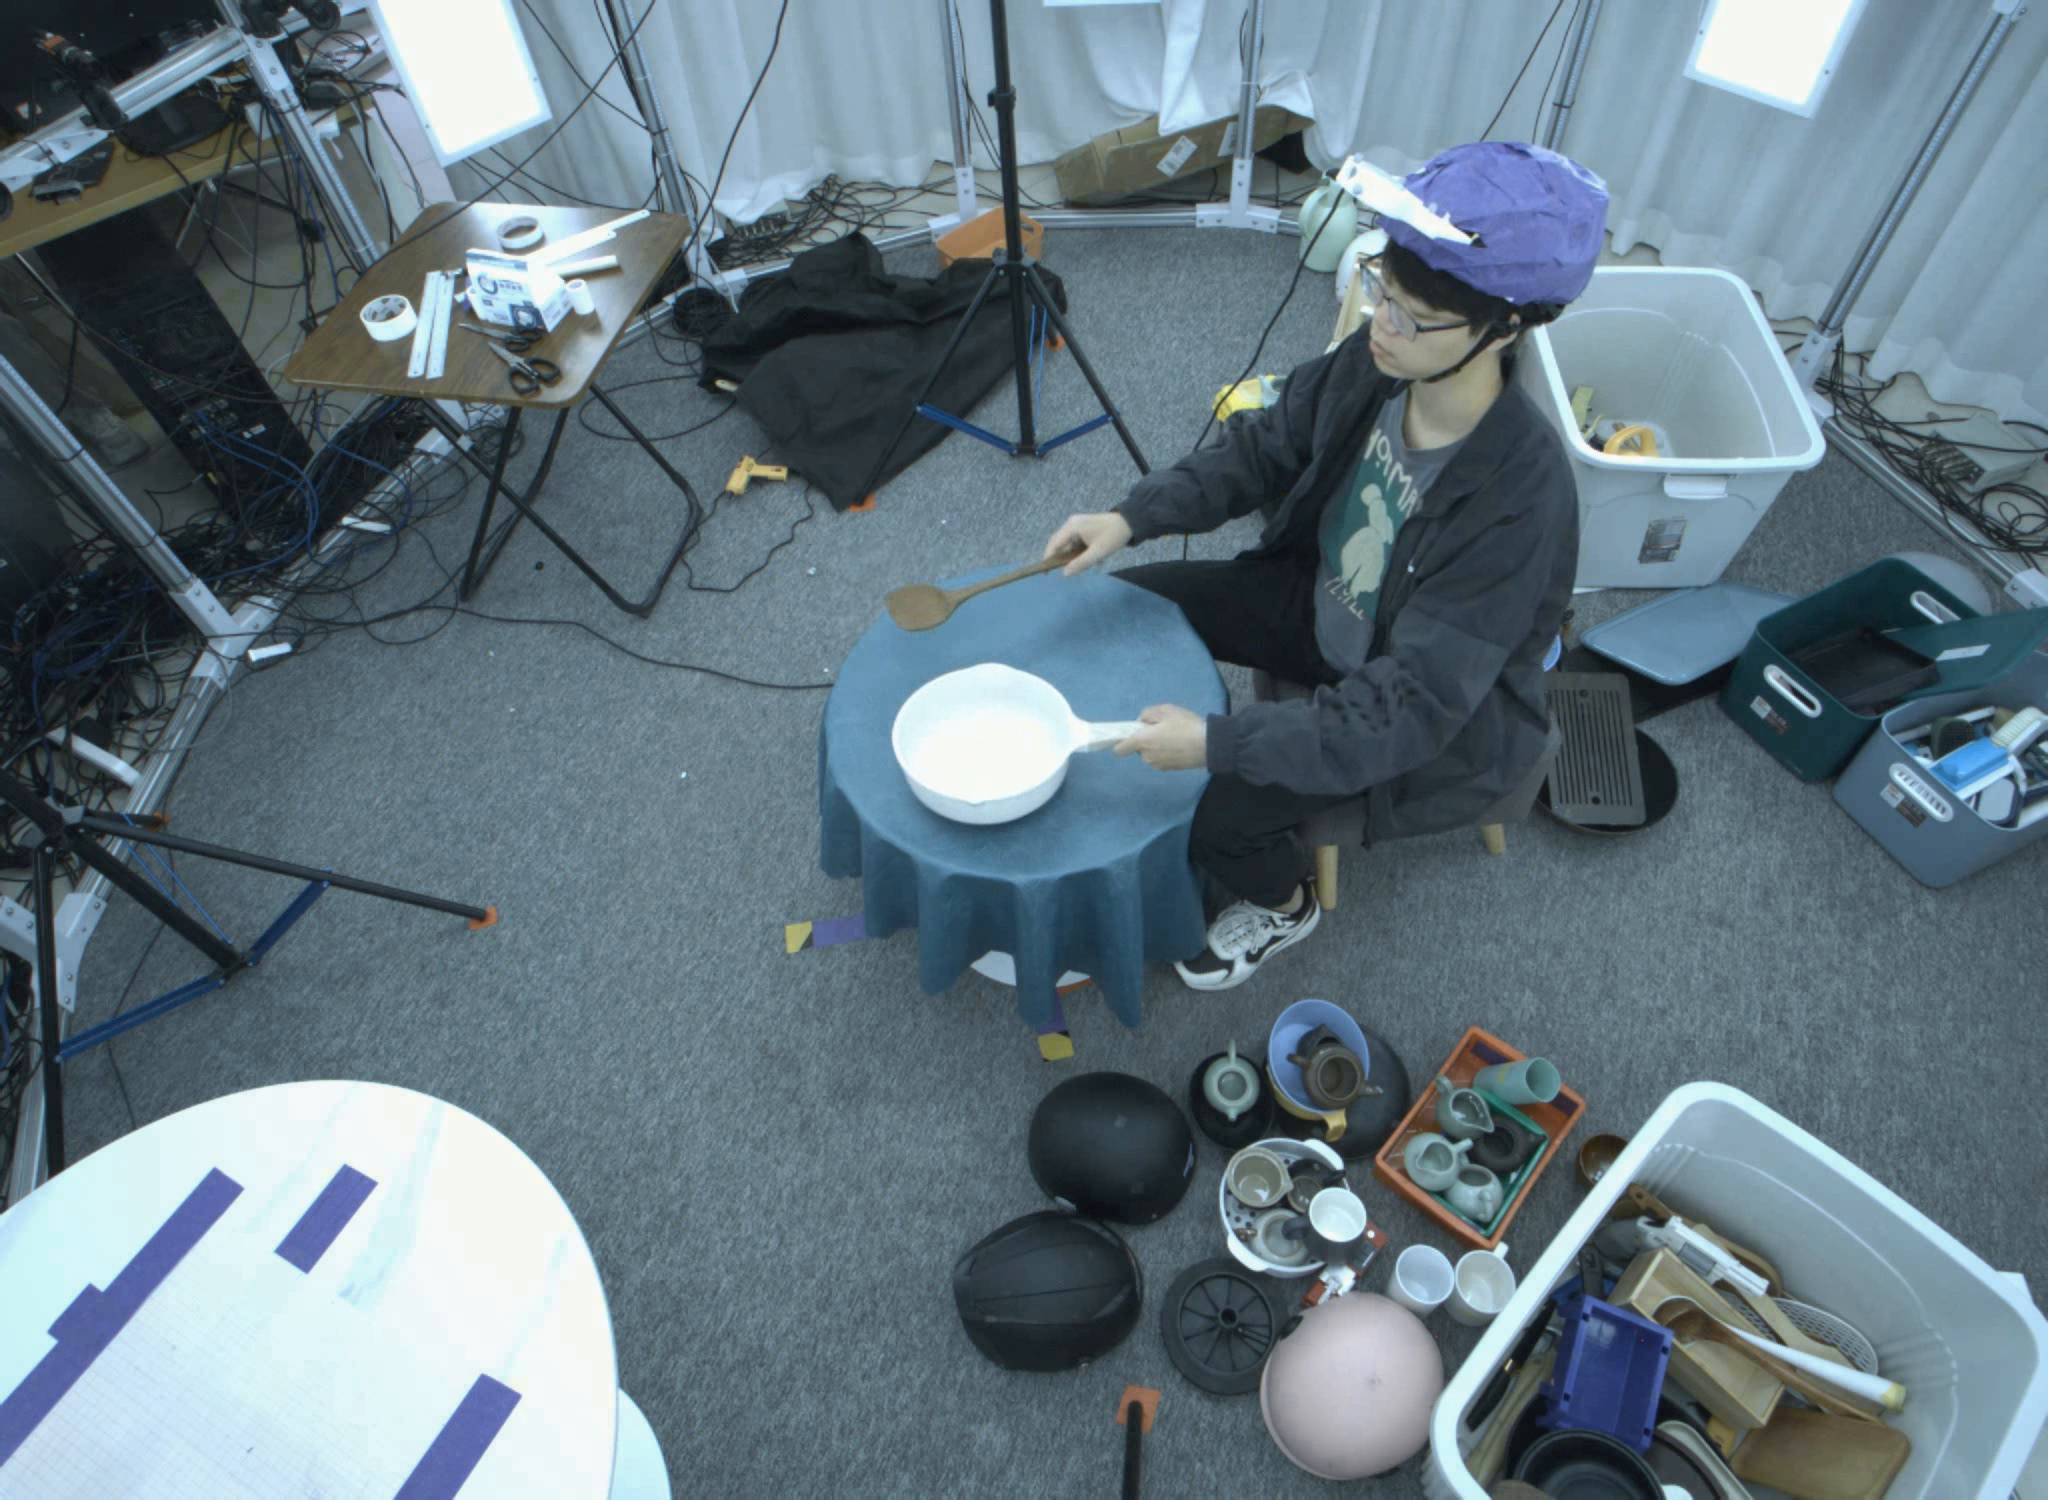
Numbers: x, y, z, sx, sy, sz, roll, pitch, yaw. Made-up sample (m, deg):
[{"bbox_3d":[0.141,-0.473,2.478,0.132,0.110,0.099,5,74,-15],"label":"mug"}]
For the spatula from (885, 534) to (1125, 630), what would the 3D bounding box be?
[{"bbox_3d":[-0.020,-0.260,1.814,0.390,0.016,0.094,-21,55,-19],"label":"spatula"}]

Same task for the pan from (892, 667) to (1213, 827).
[{"bbox_3d":[0.038,-0.001,1.696,0.434,0.103,0.261,1,47,3],"label":"pan"}]
